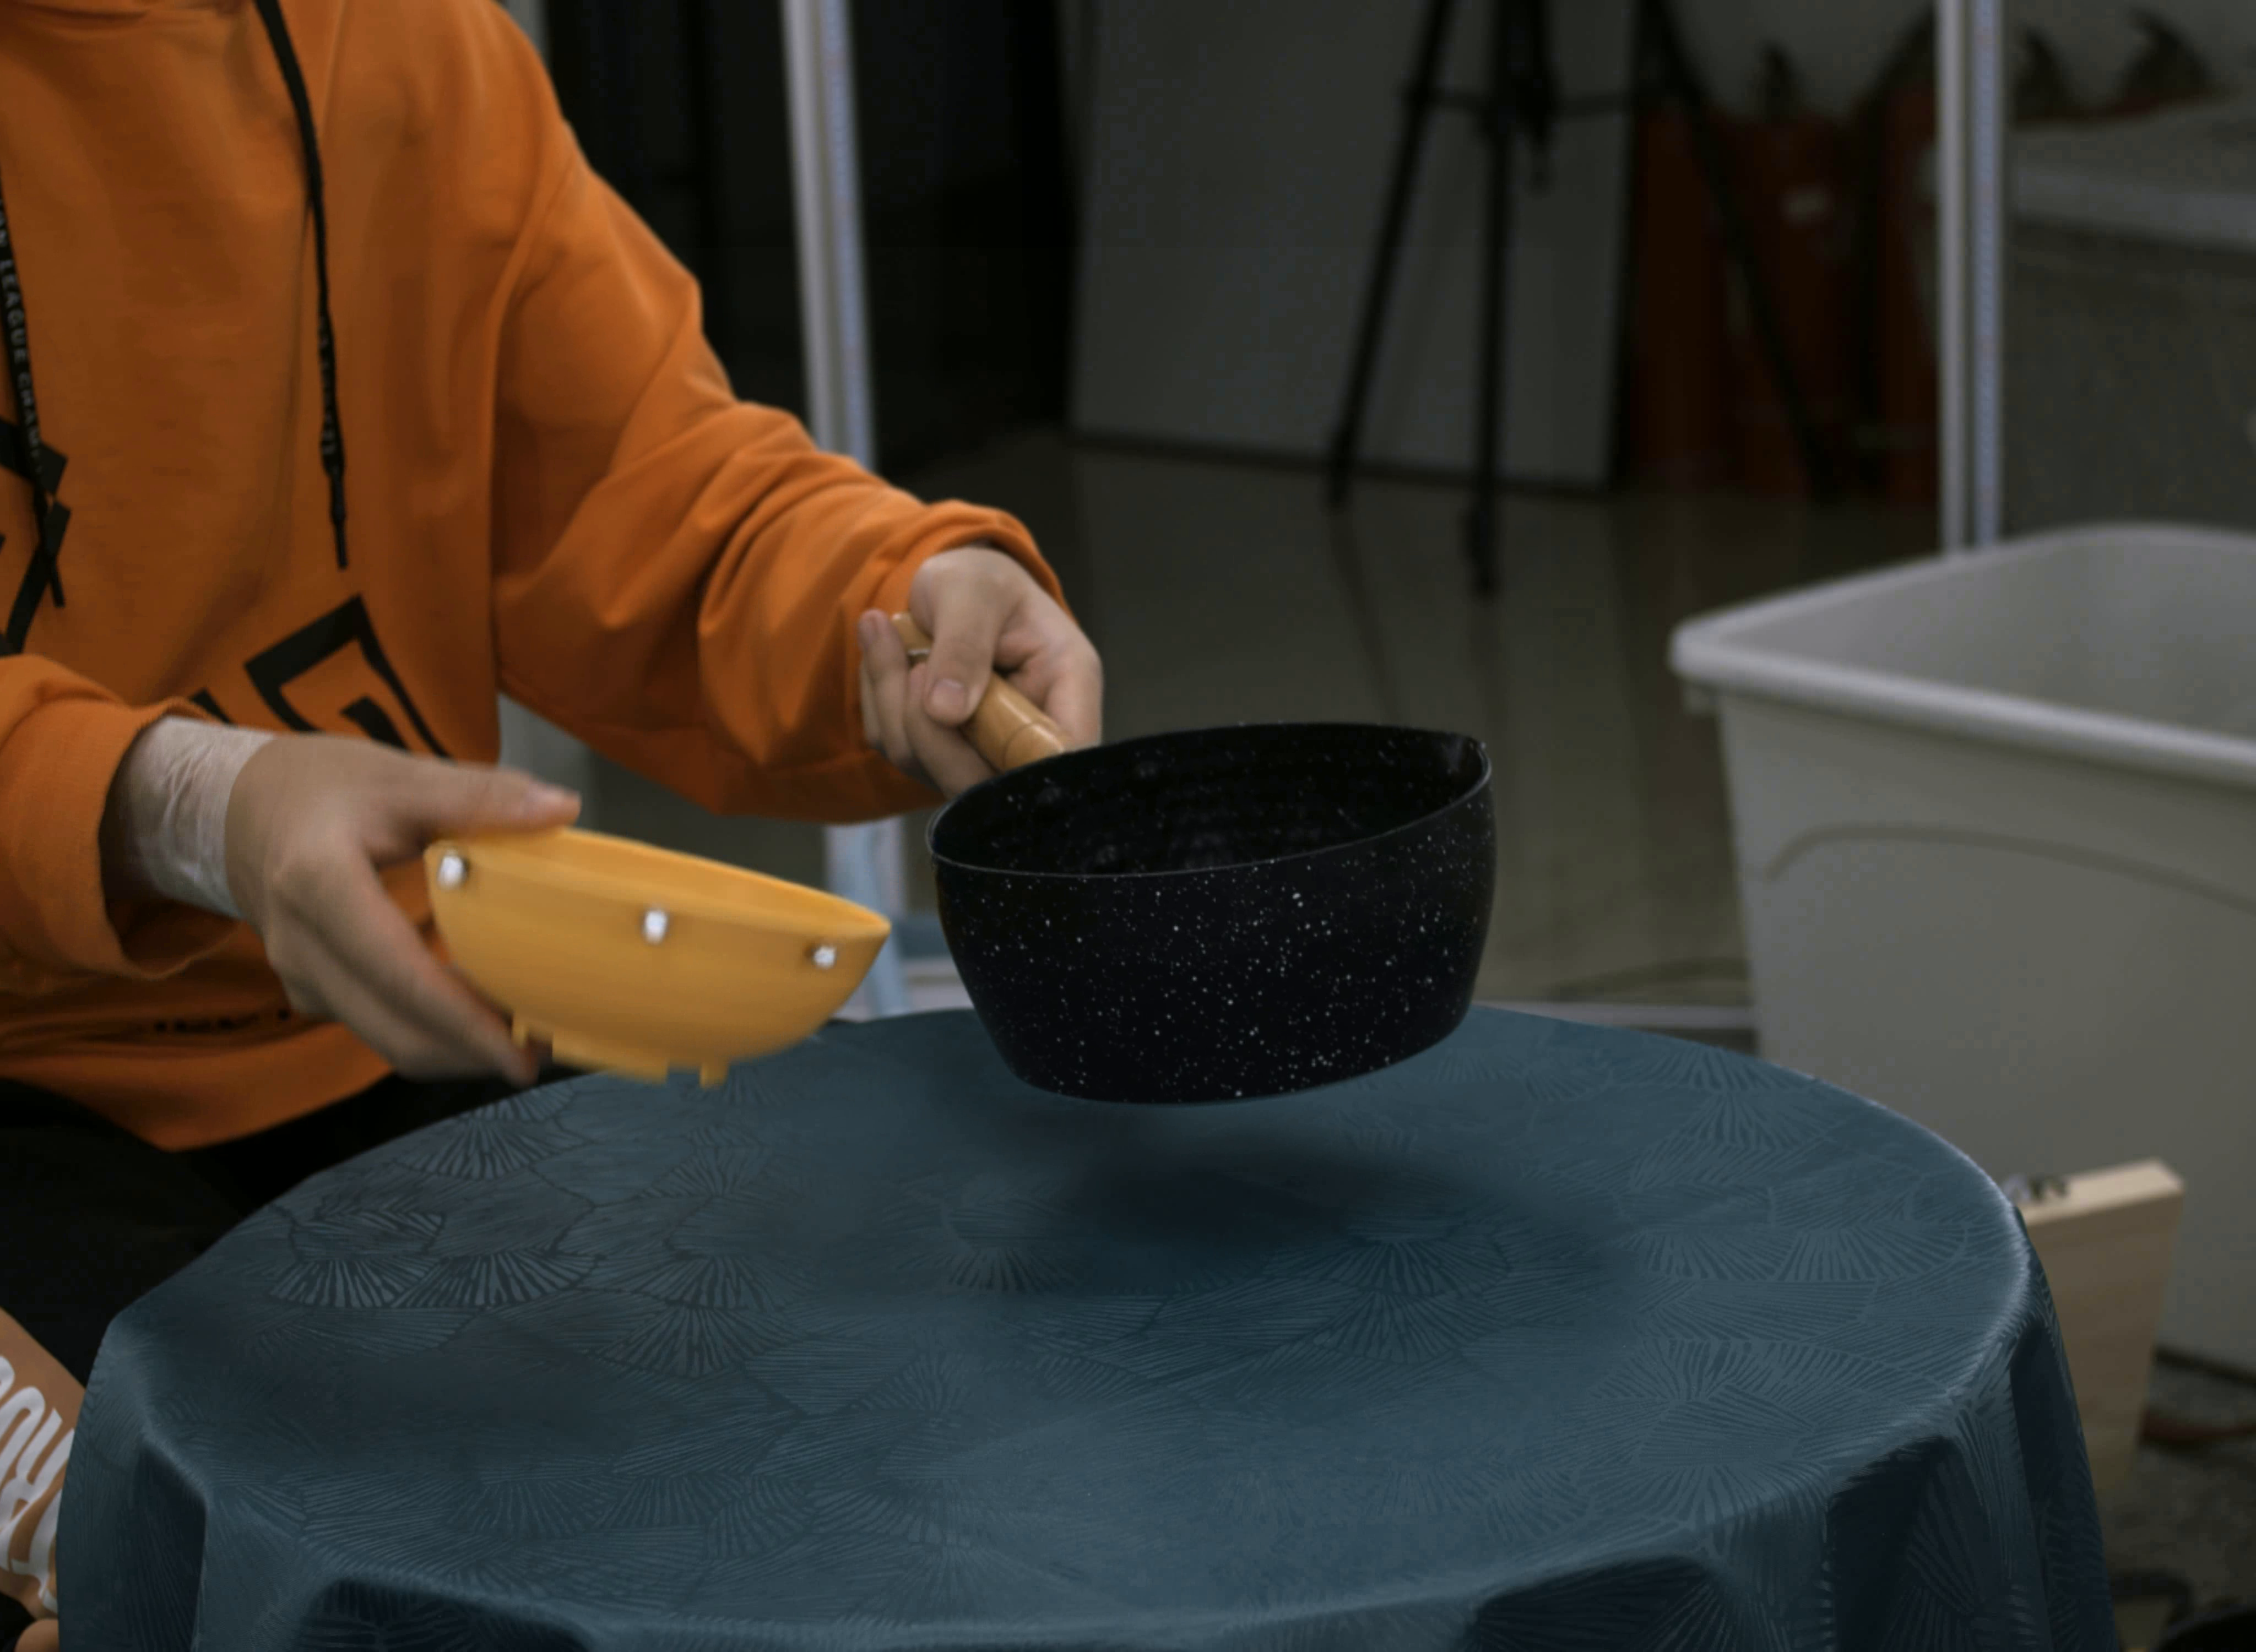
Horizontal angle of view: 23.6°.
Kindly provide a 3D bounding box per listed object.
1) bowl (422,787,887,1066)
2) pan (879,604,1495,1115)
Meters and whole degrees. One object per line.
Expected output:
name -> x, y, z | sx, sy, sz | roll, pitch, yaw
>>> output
bowl -> -0.148, 0.035, 1.617 | 0.143, 0.061, 0.145 | 14, 0, -1
pan -> -0.006, 0.004, 1.812 | 0.203, 0.109, 0.346 | -15, 17, -23
